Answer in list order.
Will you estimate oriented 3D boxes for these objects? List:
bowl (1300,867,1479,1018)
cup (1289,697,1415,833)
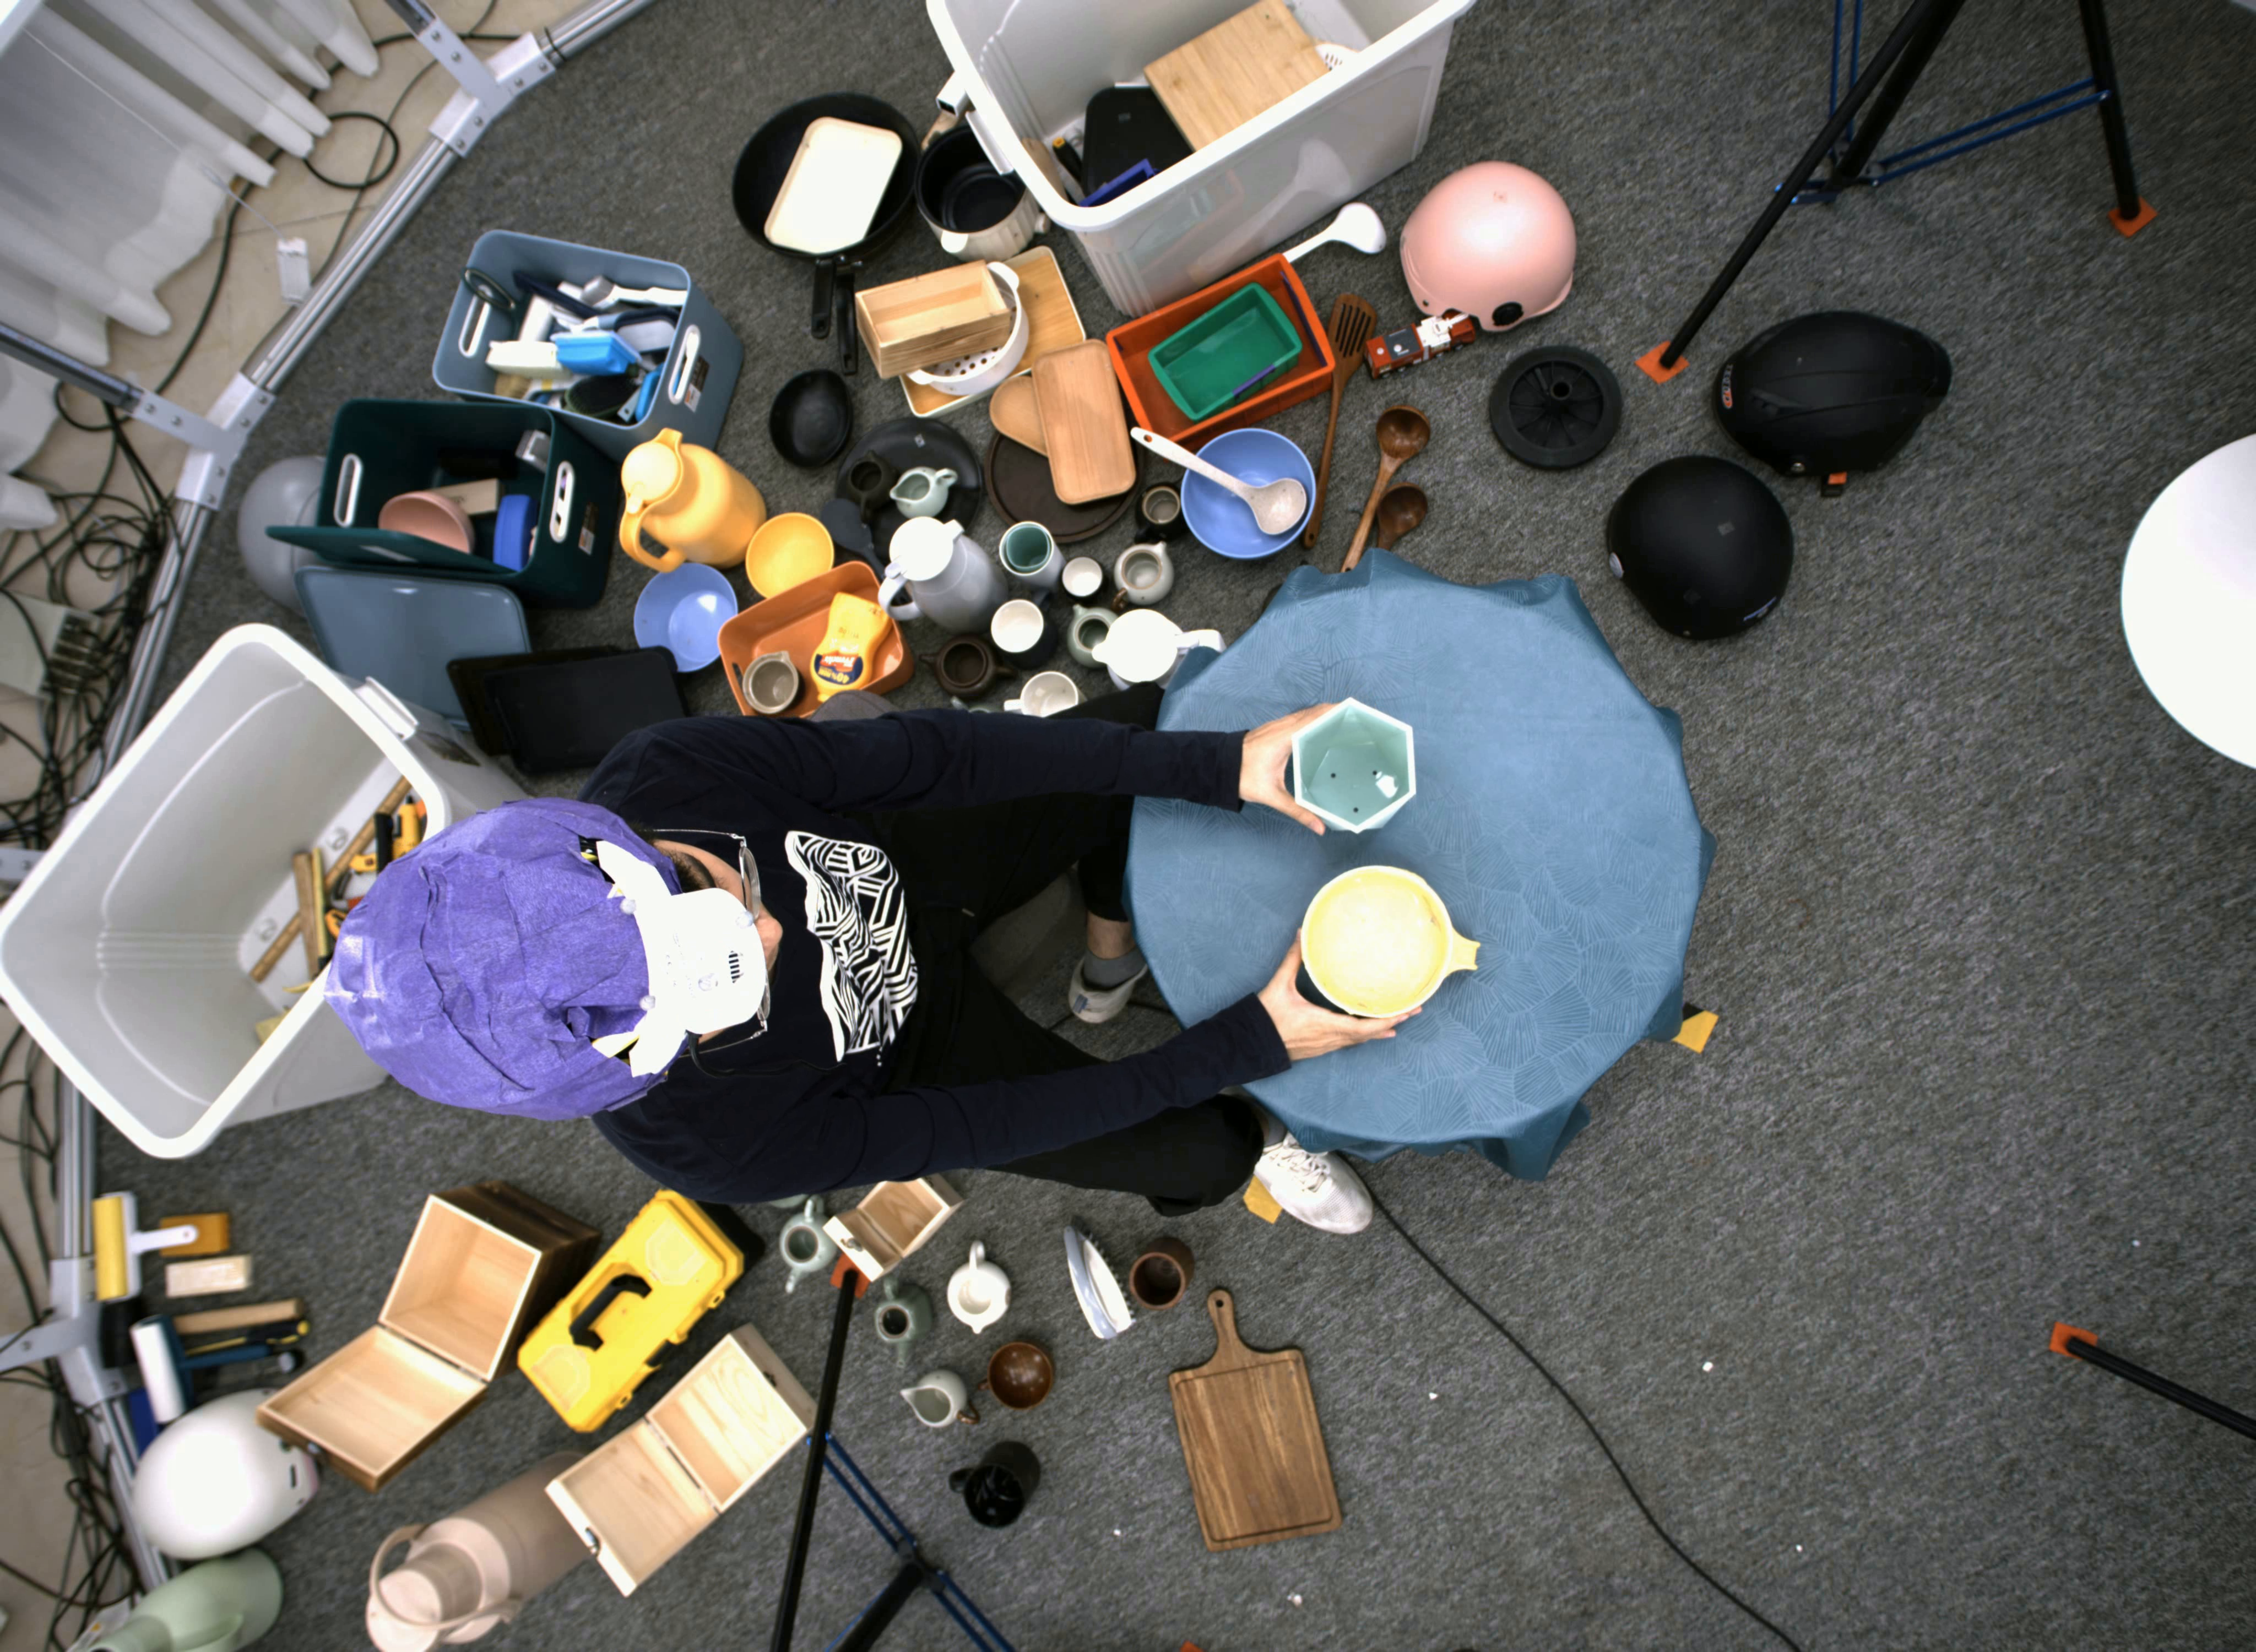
[{"bbox_3d":[0.269,0.120,1.423,0.180,0.074,0.152,4,88,13],"label":"bowl"},{"bbox_3d":[0.229,-0.052,1.390,0.116,0.163,0.130,-6,83,11],"label":"cup"}]
